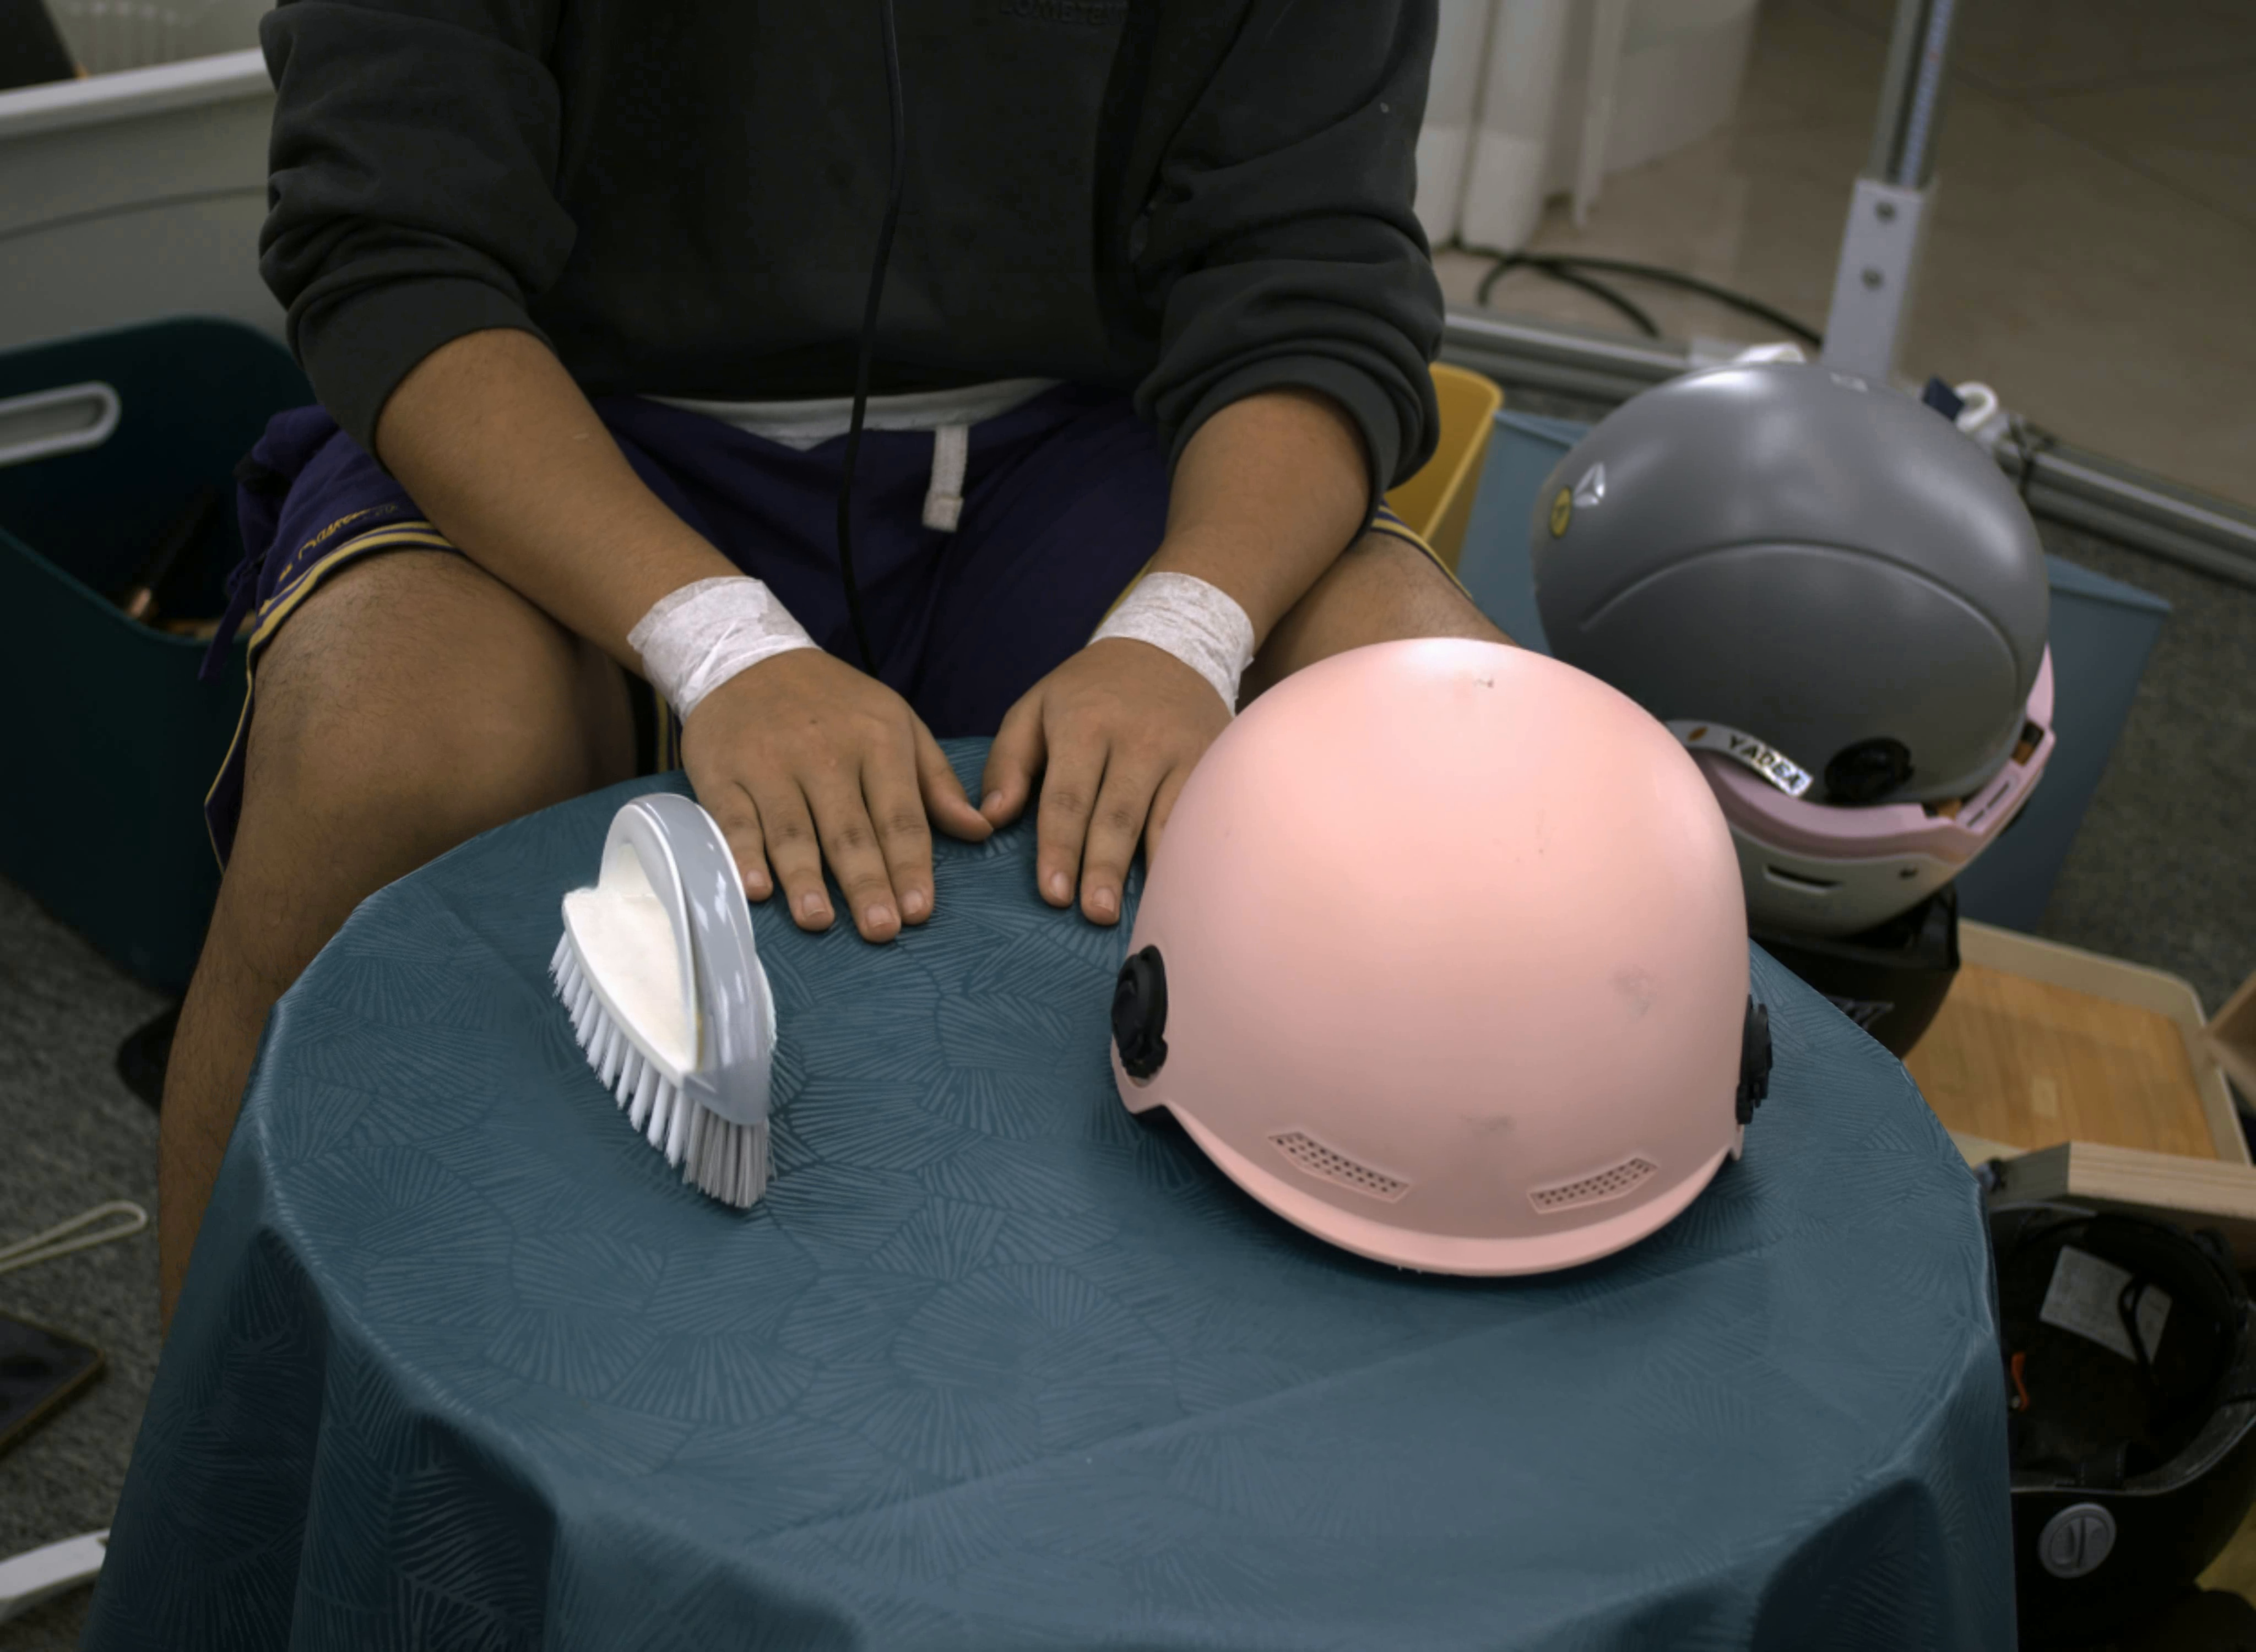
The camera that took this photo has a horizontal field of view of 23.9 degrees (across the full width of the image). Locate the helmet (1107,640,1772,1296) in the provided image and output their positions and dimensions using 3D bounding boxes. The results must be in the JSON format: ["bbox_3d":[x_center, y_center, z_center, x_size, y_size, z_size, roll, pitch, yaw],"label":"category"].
[{"bbox_3d":[0.113,0.030,1.846,0.233,0.158,0.268,5,30,-5],"label":"helmet"}]

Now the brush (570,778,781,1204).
[{"bbox_3d":[-0.147,0.048,1.816,0.061,0.094,0.177,-3,30,-18],"label":"brush"}]
